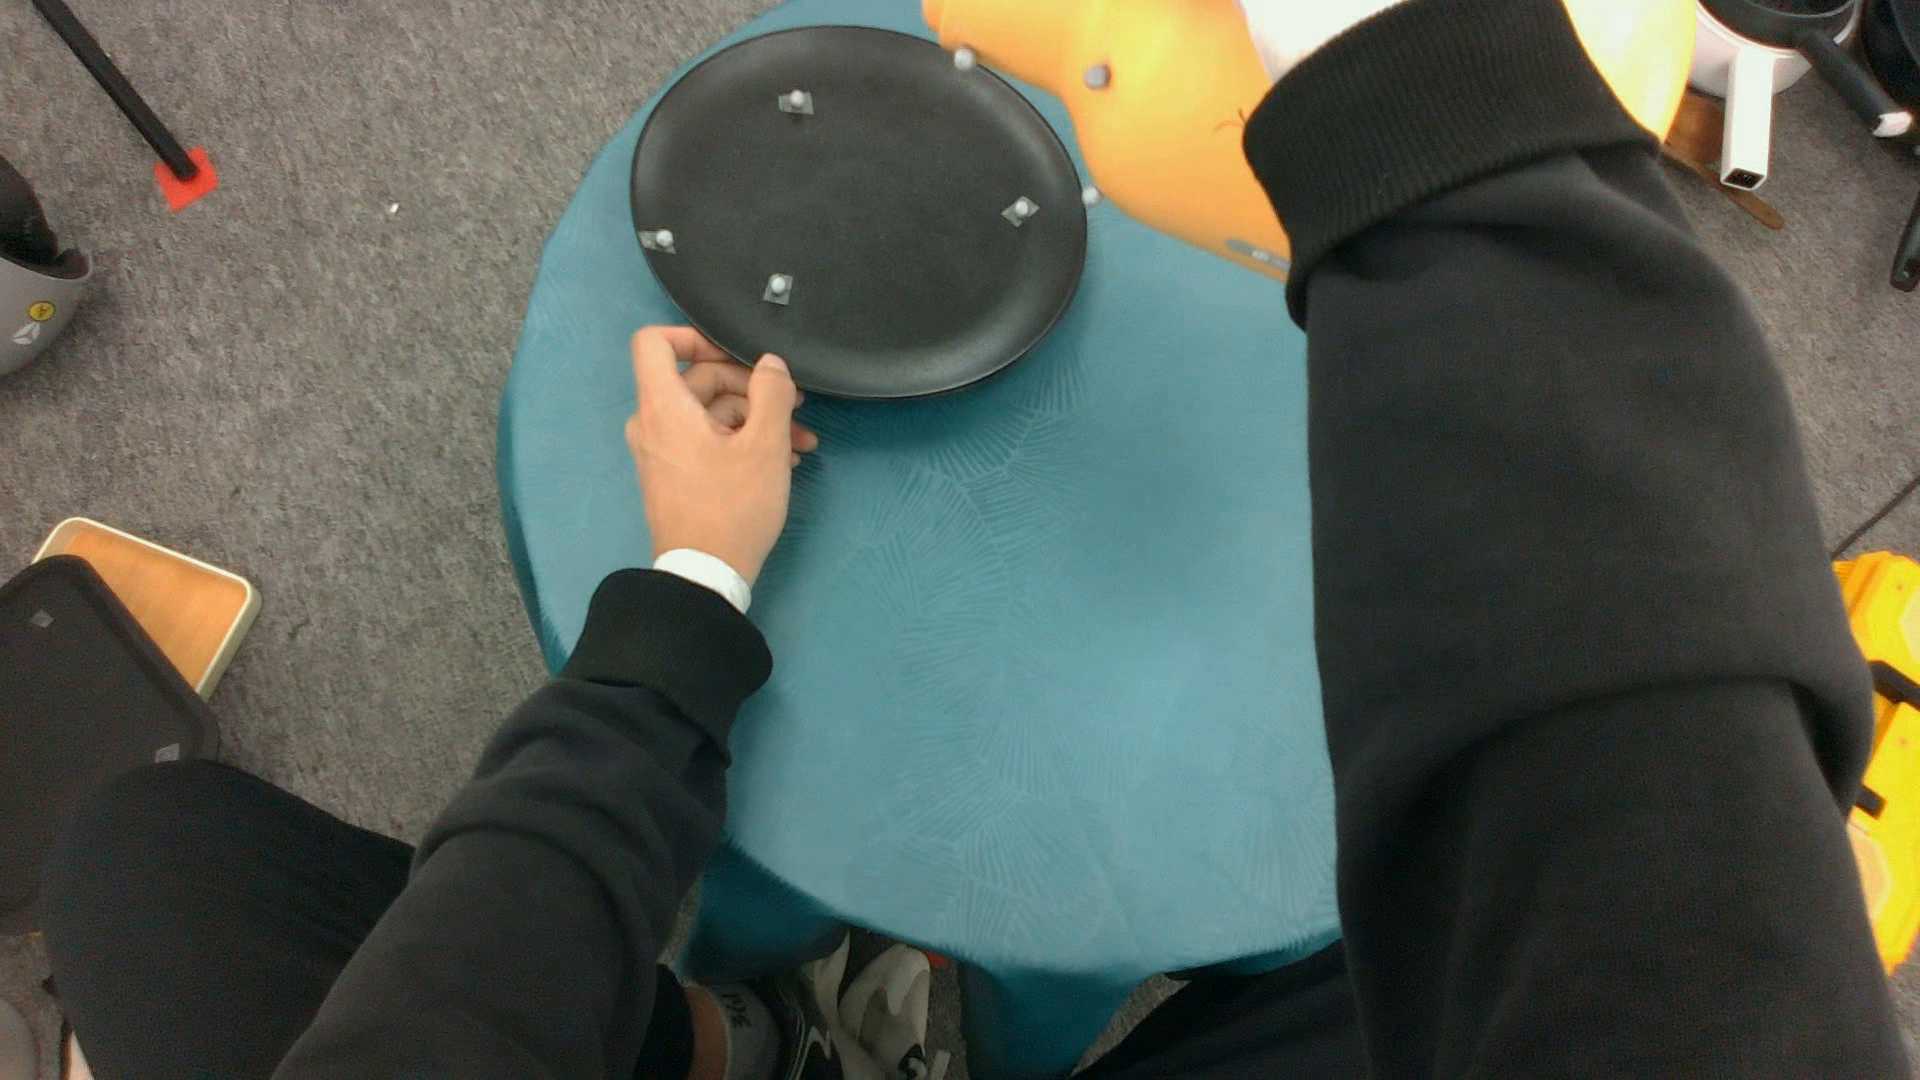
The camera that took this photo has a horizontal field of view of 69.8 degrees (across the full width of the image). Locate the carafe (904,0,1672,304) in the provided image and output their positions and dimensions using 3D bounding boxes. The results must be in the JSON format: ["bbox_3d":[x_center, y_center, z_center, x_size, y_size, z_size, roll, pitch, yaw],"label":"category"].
[{"bbox_3d":[0.109,-0.199,0.489,0.260,0.202,0.163,19,86,0],"label":"carafe"}]

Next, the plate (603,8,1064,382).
[{"bbox_3d":[-0.065,-0.185,0.735,0.244,0.023,0.245,5,64,-10],"label":"plate"}]
